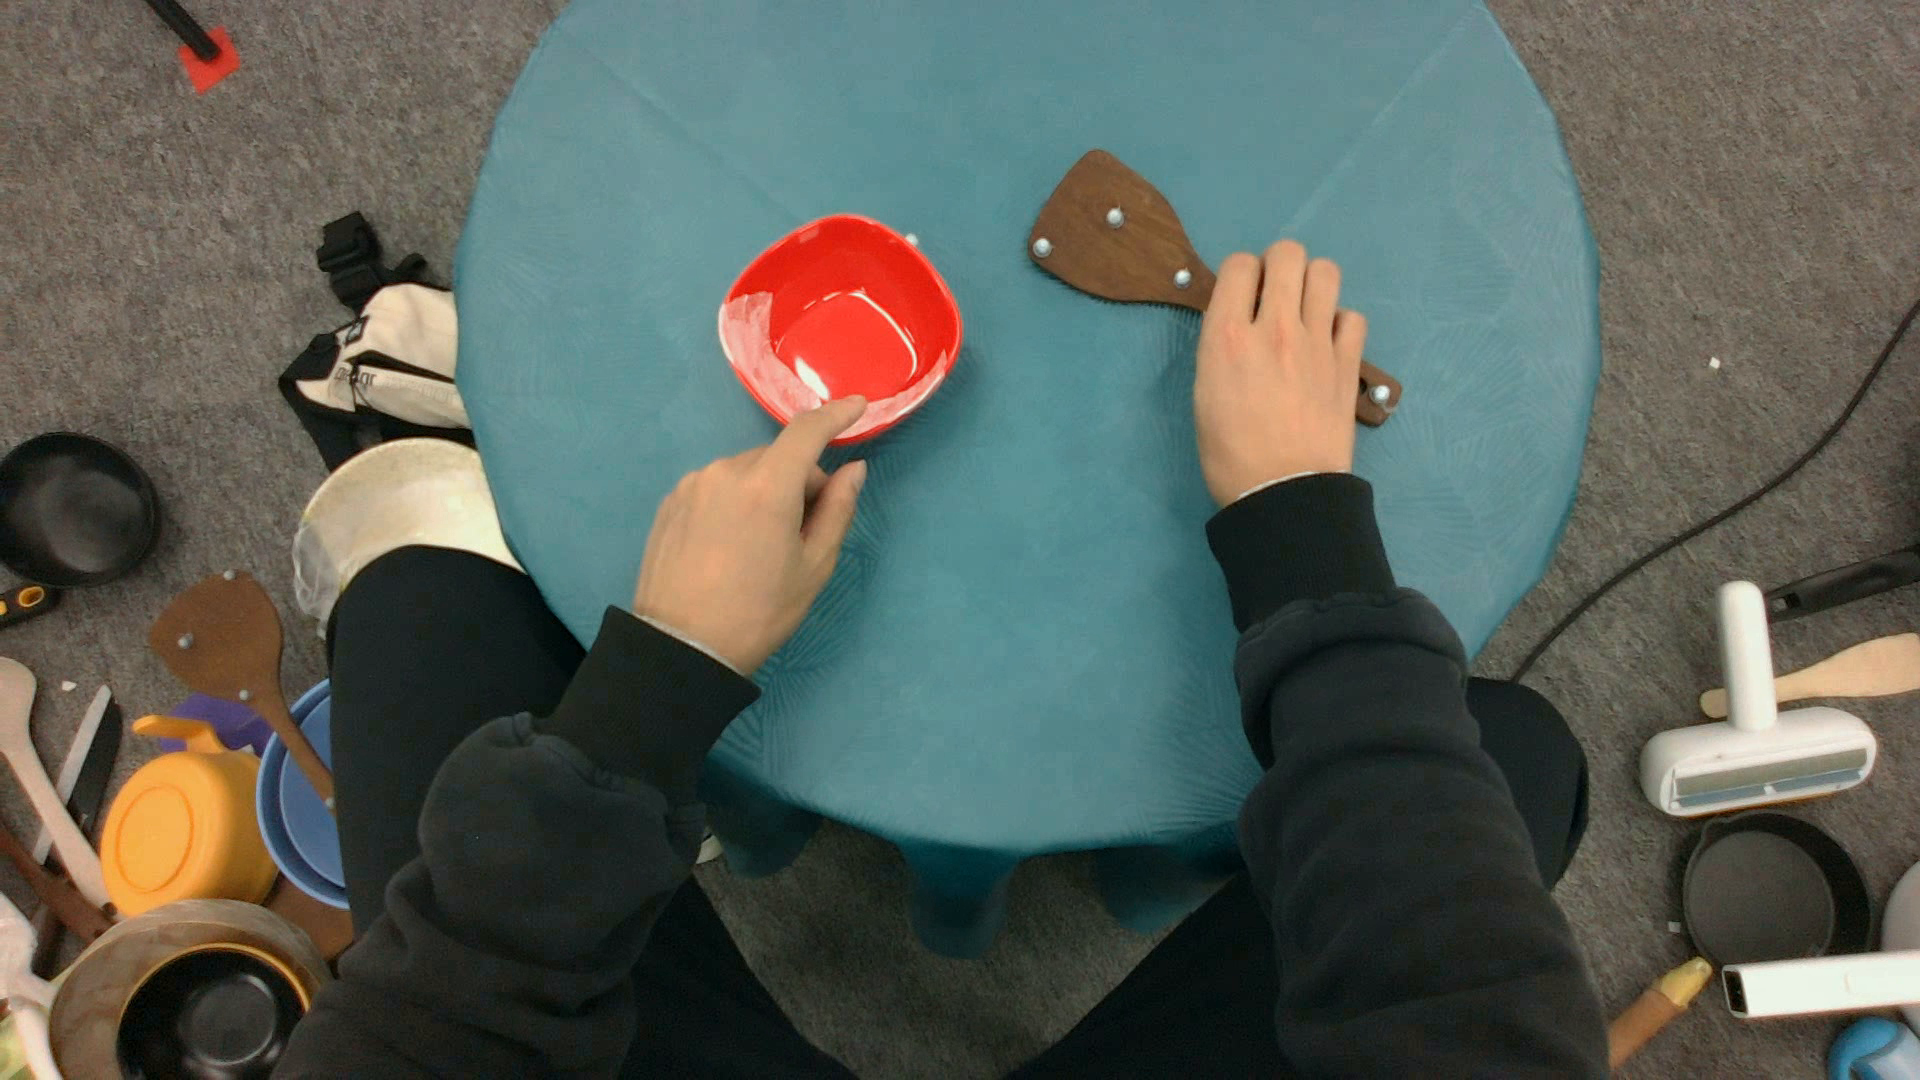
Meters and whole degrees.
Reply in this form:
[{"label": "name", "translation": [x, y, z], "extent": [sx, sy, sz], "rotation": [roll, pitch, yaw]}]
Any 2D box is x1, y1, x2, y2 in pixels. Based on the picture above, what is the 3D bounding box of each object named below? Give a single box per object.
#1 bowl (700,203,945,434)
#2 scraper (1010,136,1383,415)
[{"label": "bowl", "translation": [-0.067, -0.104, 0.692], "extent": [0.119, 0.051, 0.119], "rotation": [1, 76, -2]}, {"label": "scraper", "translation": [0.127, -0.131, 0.721], "extent": [0.211, 0.011, 0.076], "rotation": [34, 82, 6]}]
